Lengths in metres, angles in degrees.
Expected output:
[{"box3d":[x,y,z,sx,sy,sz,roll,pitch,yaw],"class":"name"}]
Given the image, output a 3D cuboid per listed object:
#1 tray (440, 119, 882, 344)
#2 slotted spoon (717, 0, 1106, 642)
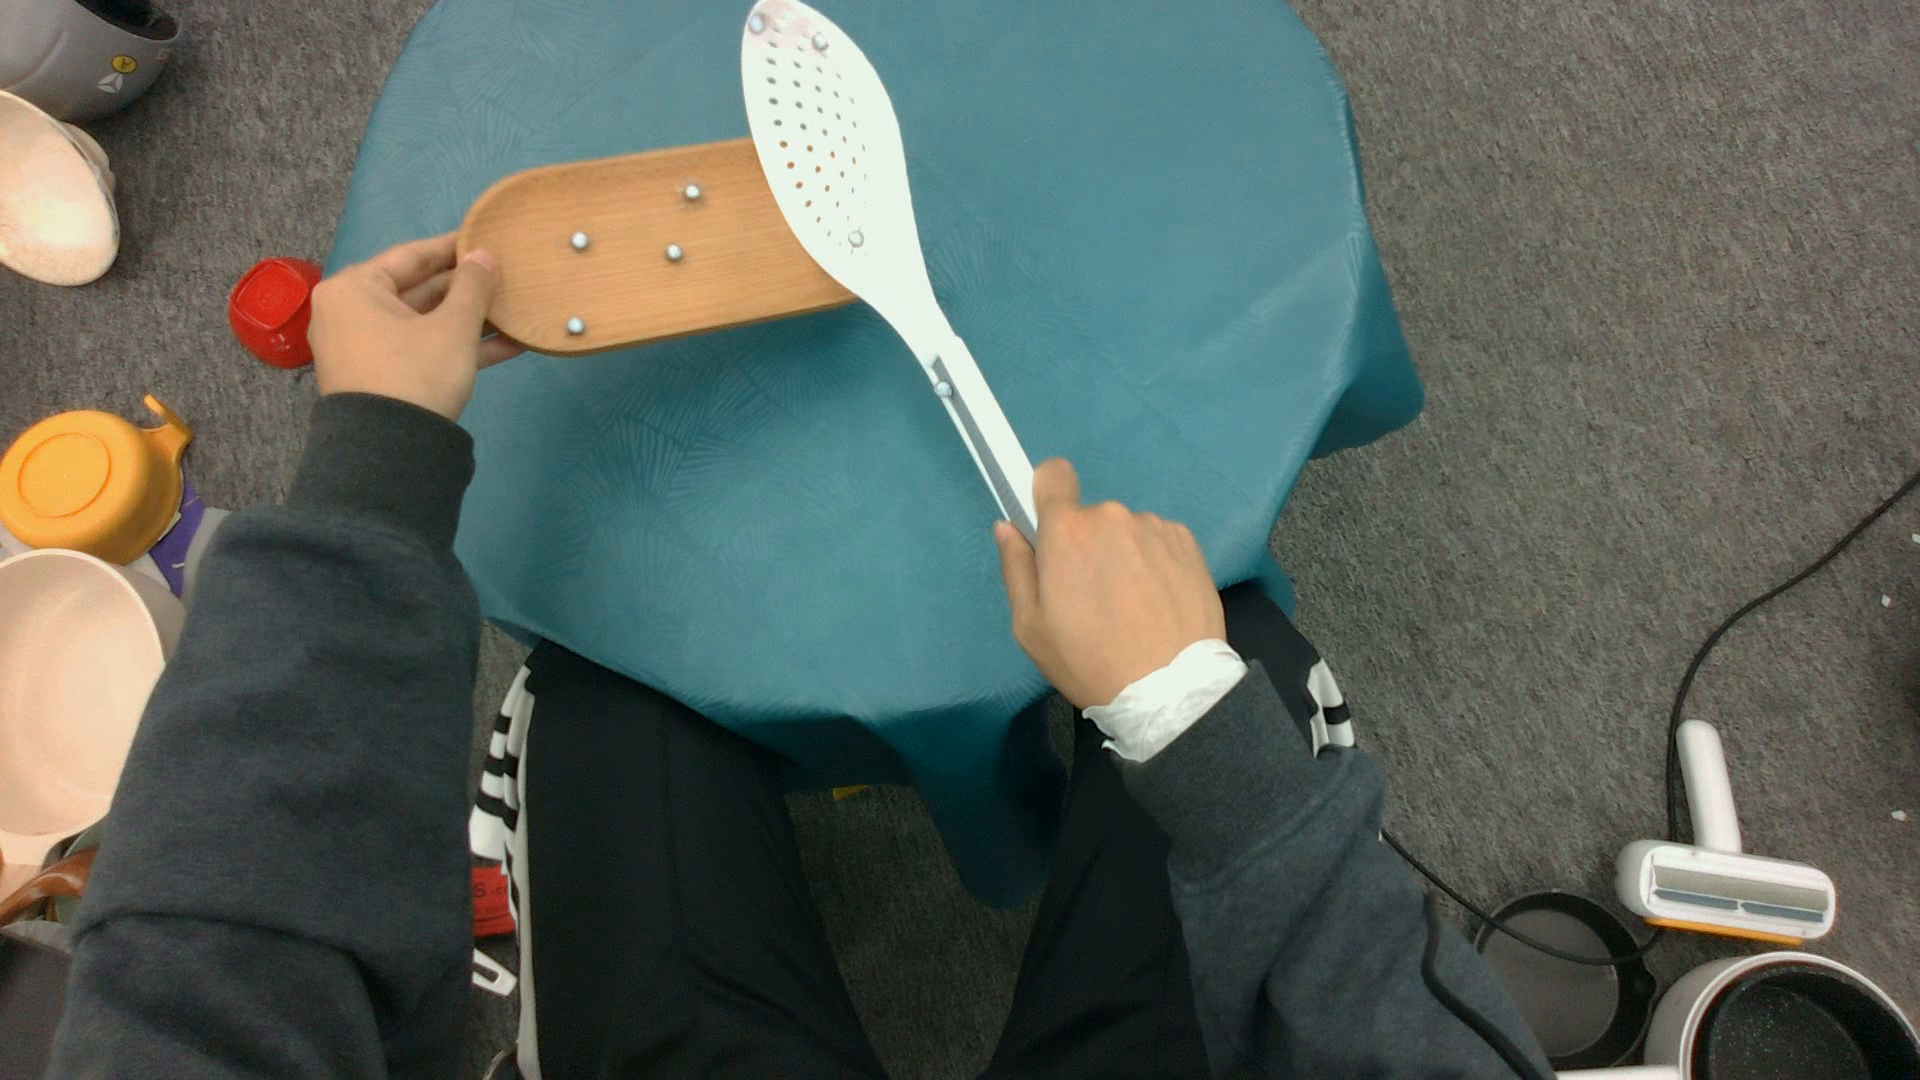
[{"box3d":[-0.151,-0.165,0.720,0.232,0.020,0.102,-17,82,-22],"class":"tray"},{"box3d":[-0.026,-0.106,0.662,0.046,0.135,0.350,-22,79,-21],"class":"slotted spoon"}]
